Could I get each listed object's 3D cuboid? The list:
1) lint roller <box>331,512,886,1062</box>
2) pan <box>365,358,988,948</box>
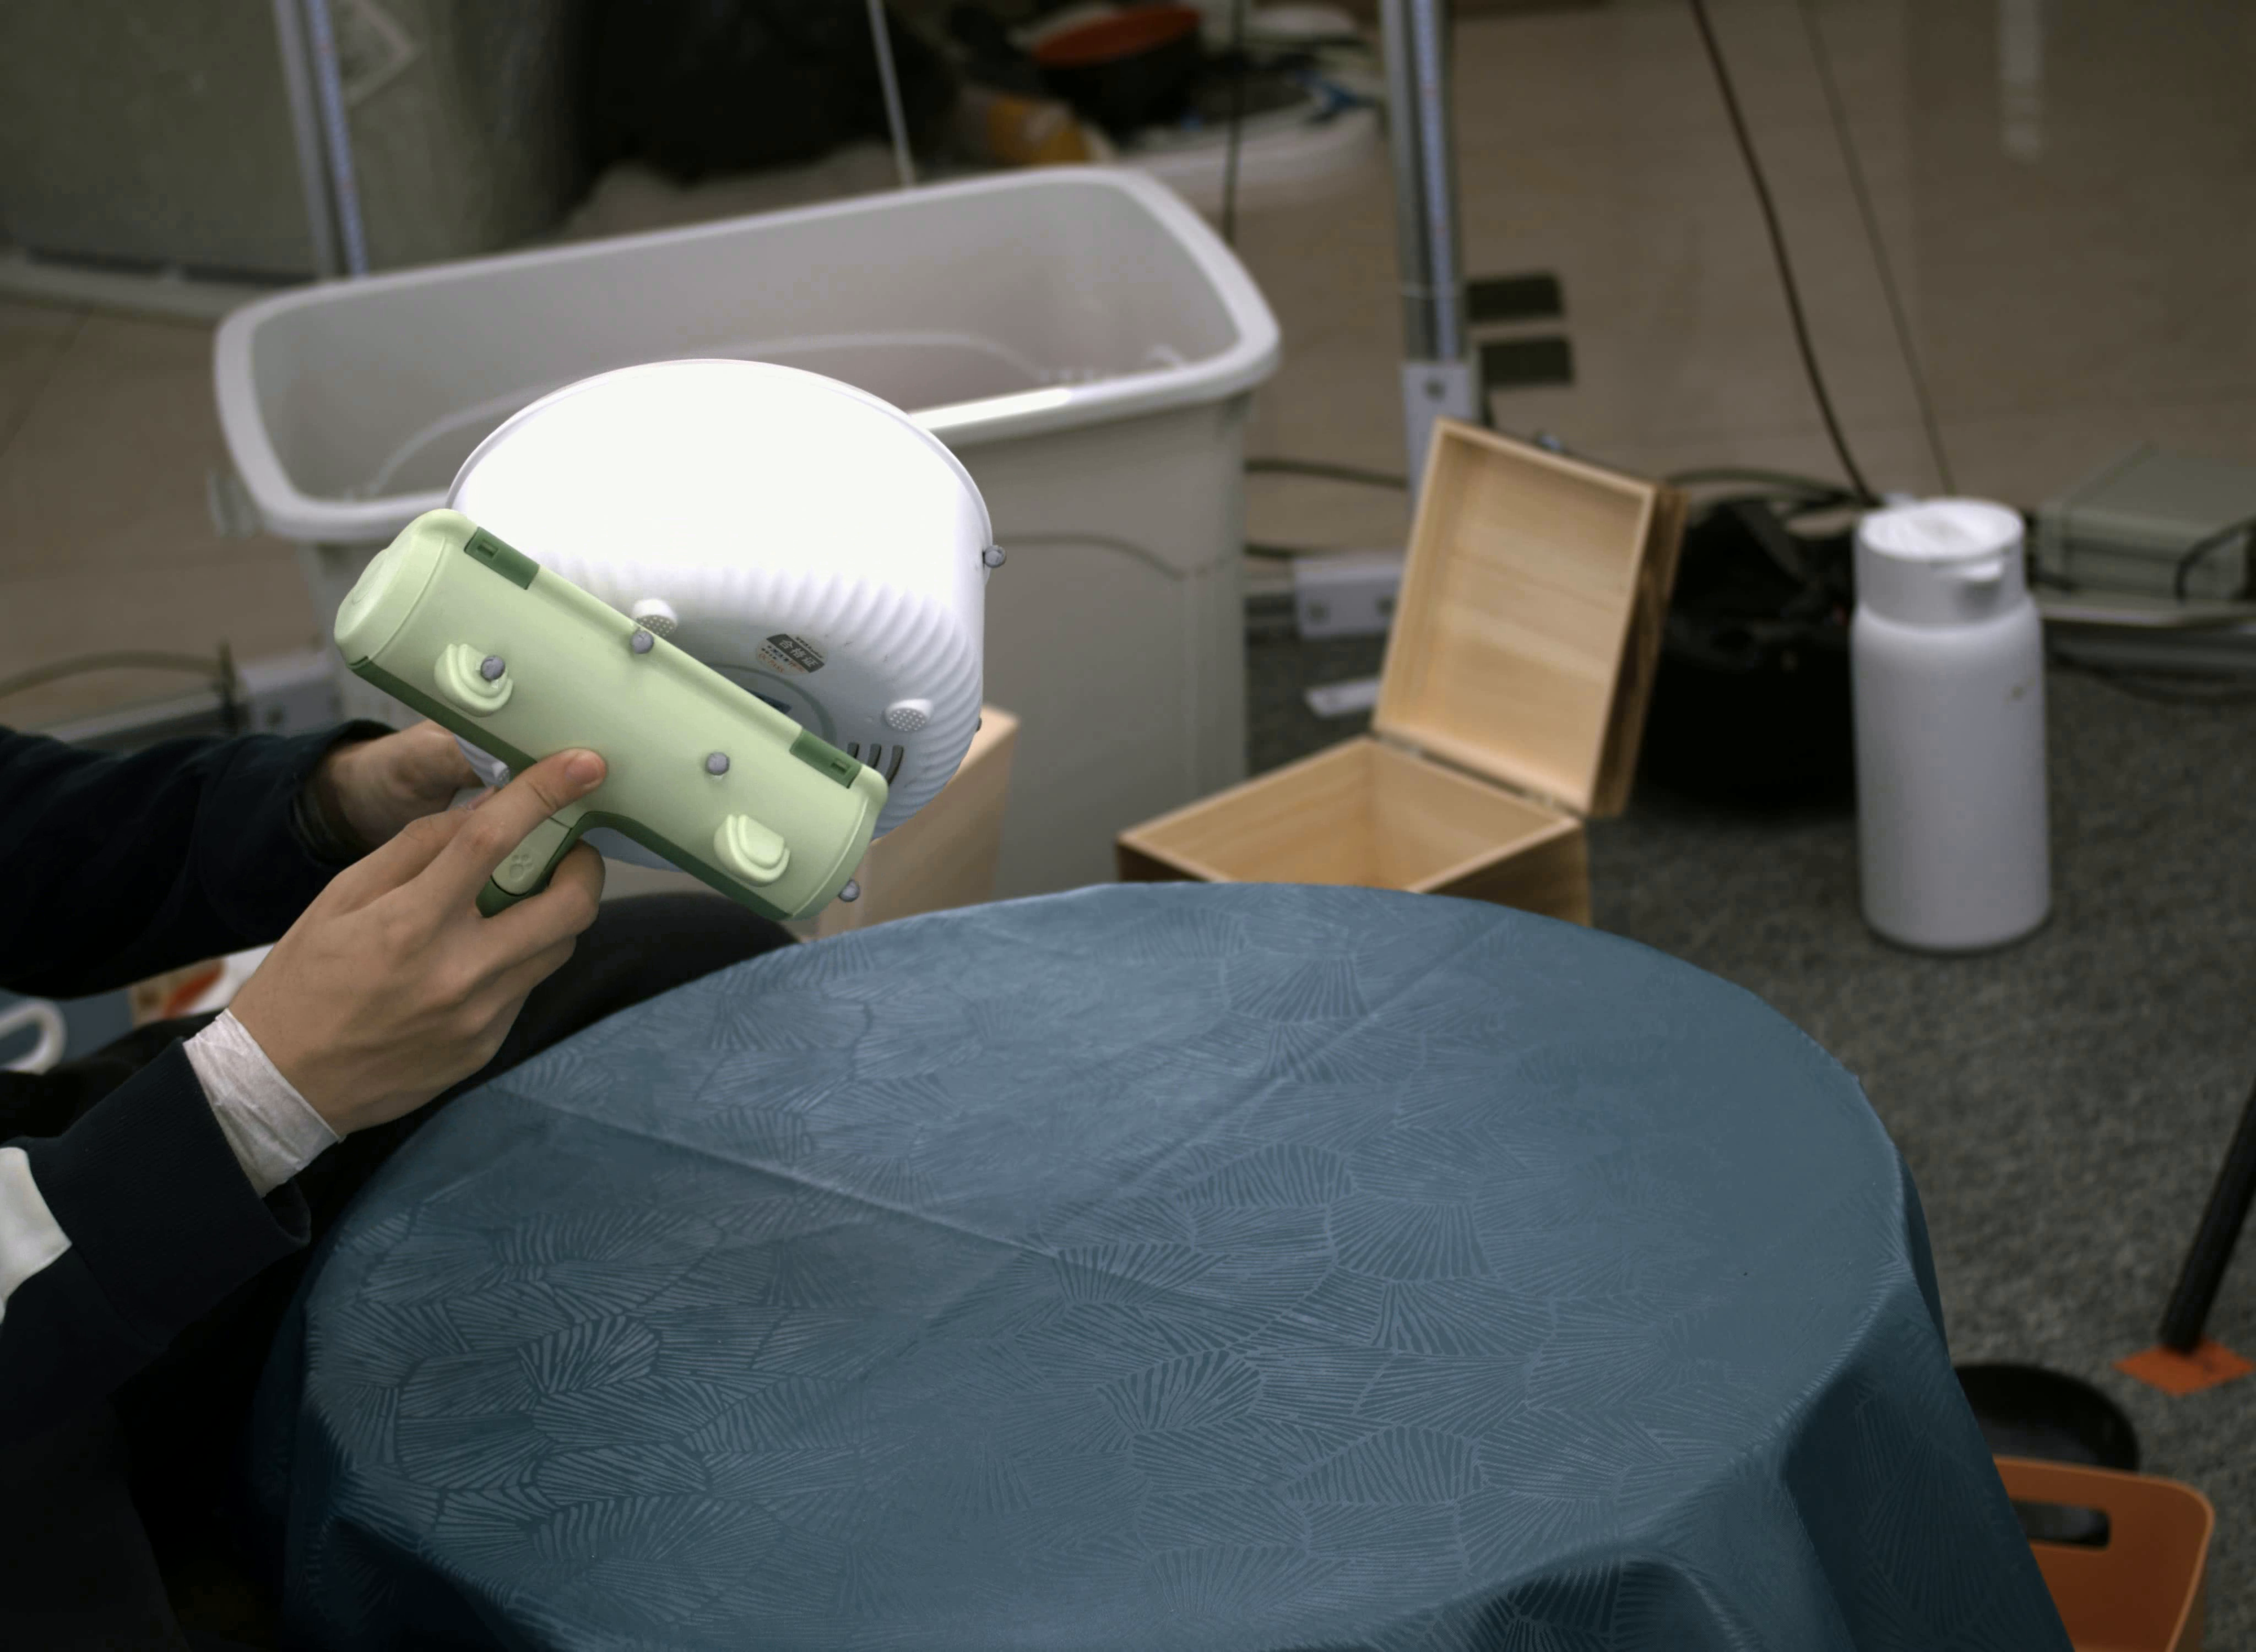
[{"bbox_3d":[-0.208,0.013,1.947,0.200,0.184,0.081,32,6,-23],"label":"lint roller"},{"bbox_3d":[-0.191,-0.027,2.093,0.202,0.359,0.100,19,49,-26],"label":"pan"}]
